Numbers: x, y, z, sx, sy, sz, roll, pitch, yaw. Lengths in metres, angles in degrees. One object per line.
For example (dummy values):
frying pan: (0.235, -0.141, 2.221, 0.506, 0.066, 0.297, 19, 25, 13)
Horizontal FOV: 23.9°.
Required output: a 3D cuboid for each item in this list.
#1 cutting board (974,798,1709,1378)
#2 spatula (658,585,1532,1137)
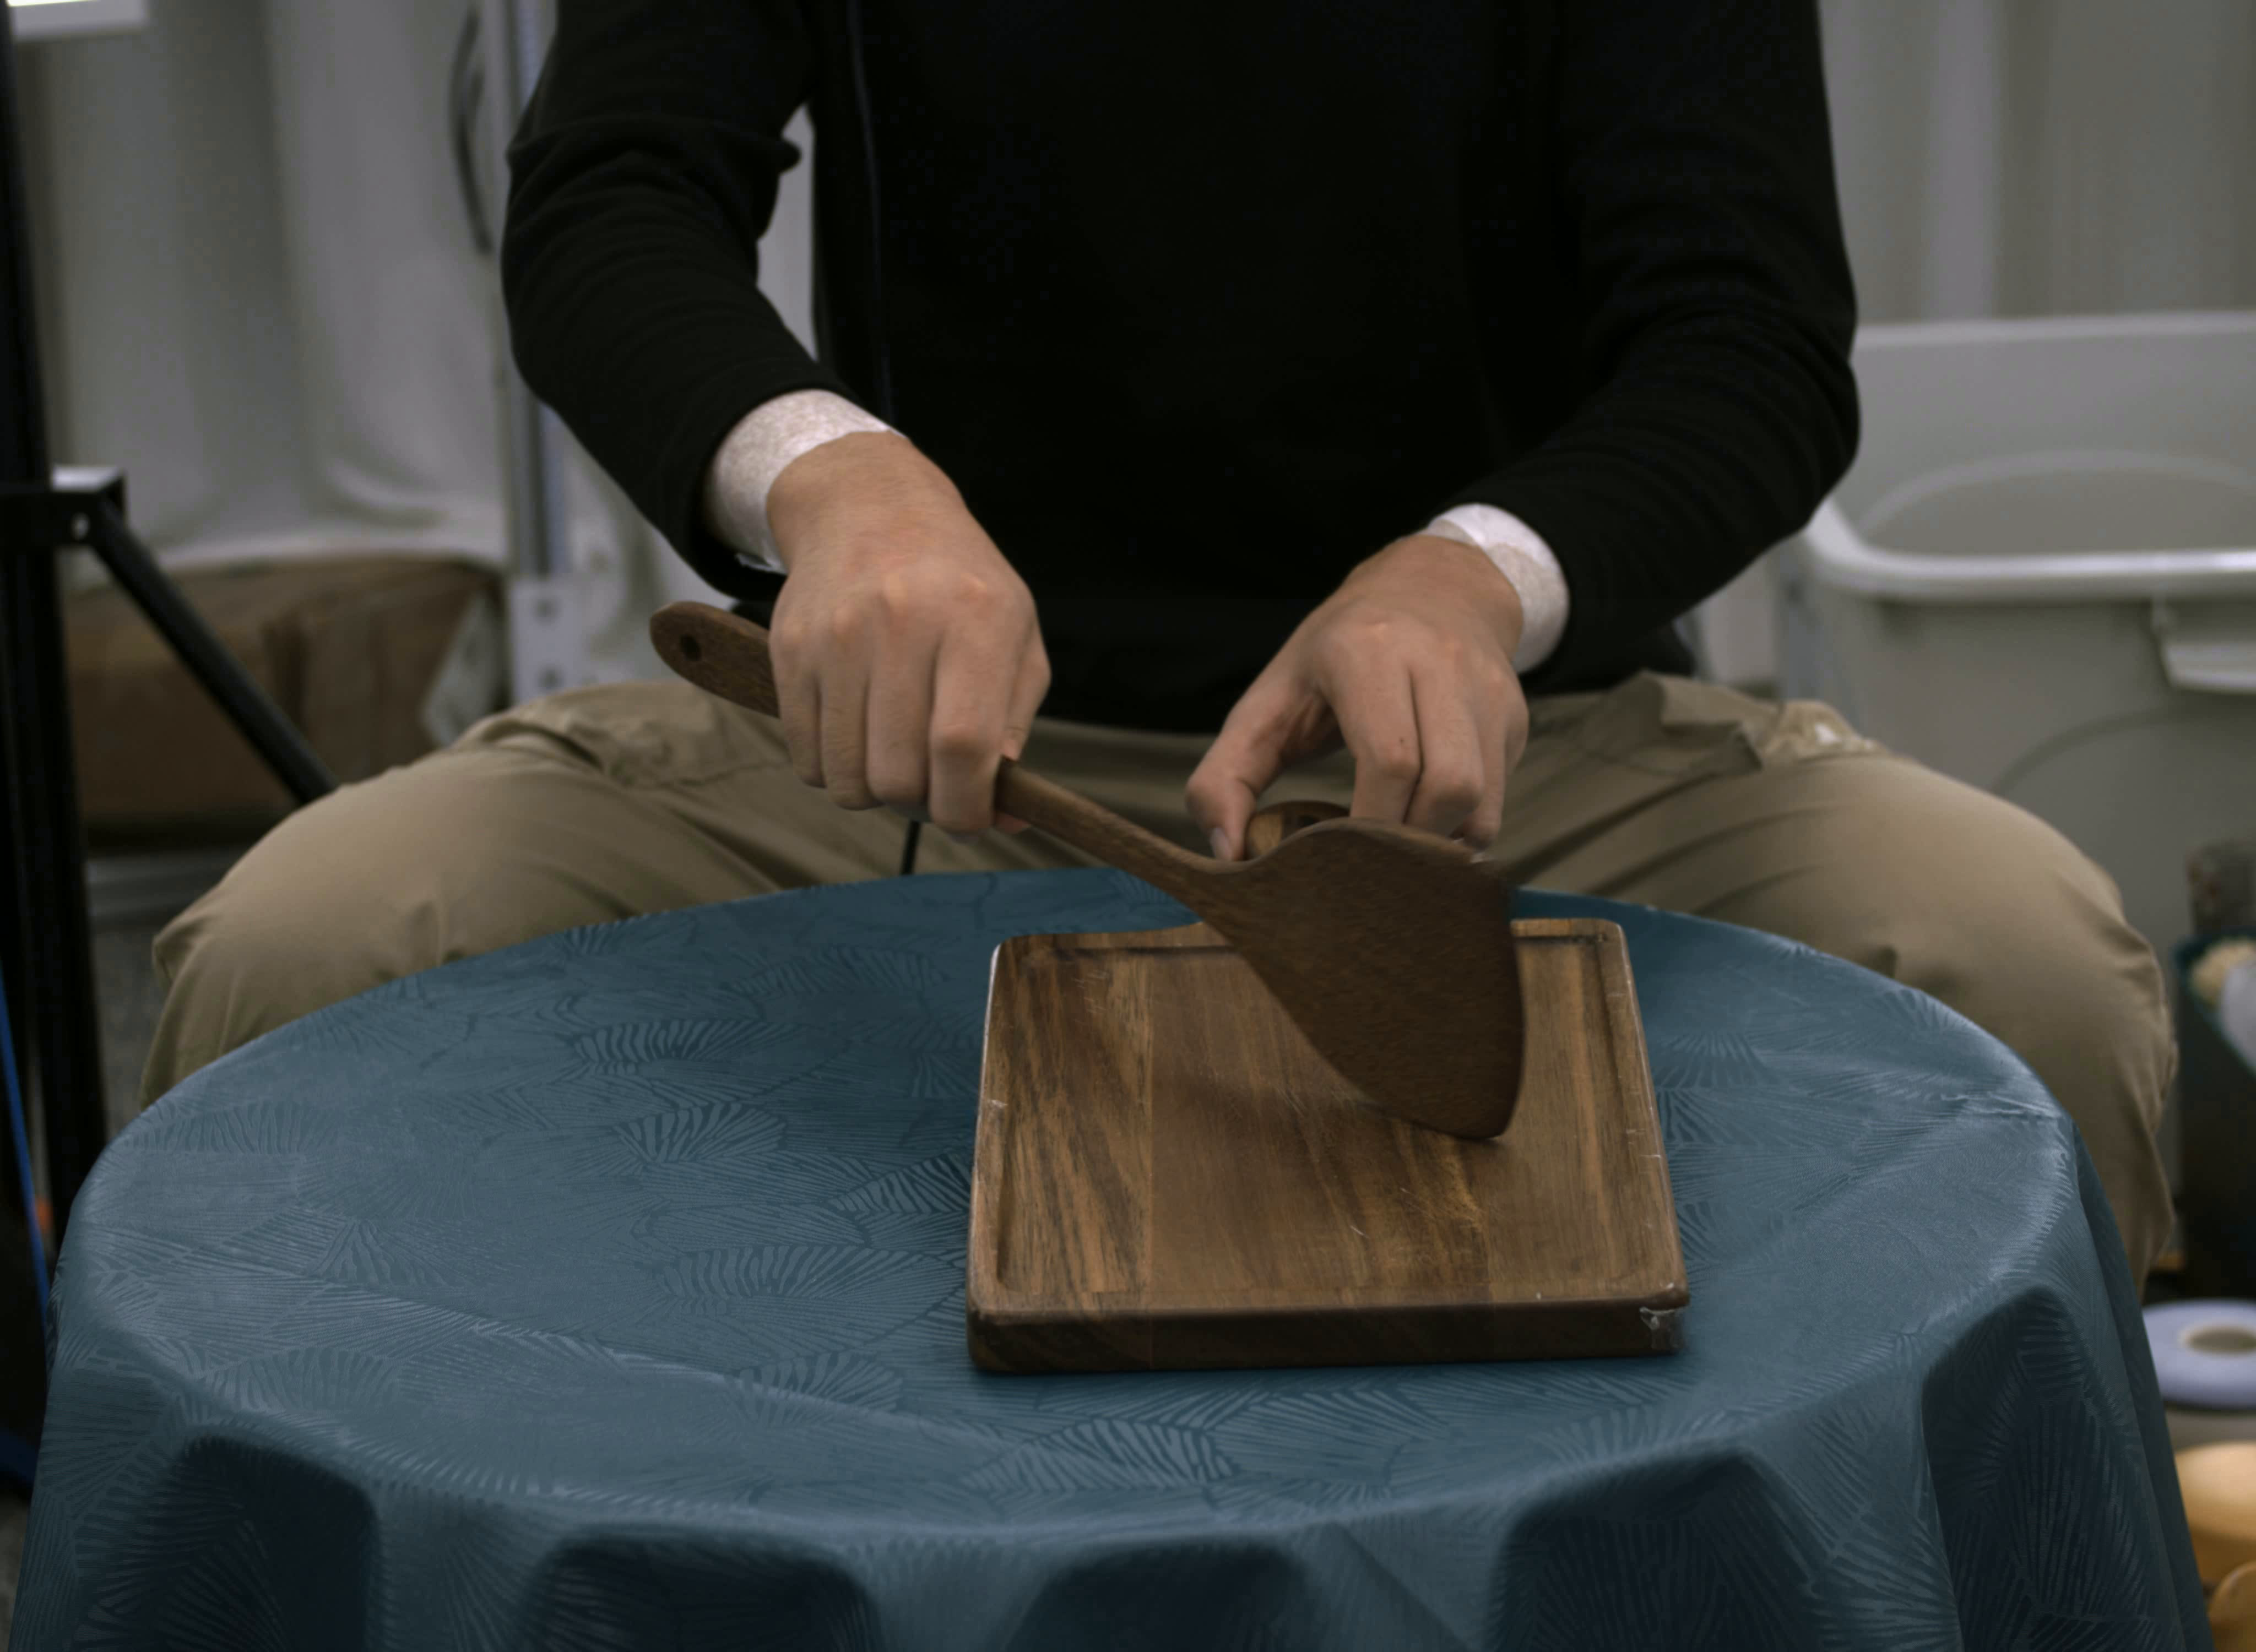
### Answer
cutting board: (0.056, 0.069, 1.572, 0.200, 0.023, 0.354, -2, 23, 2)
spatula: (-0.019, -0.008, 1.604, 0.015, 0.096, 0.395, -22, 33, -35)
